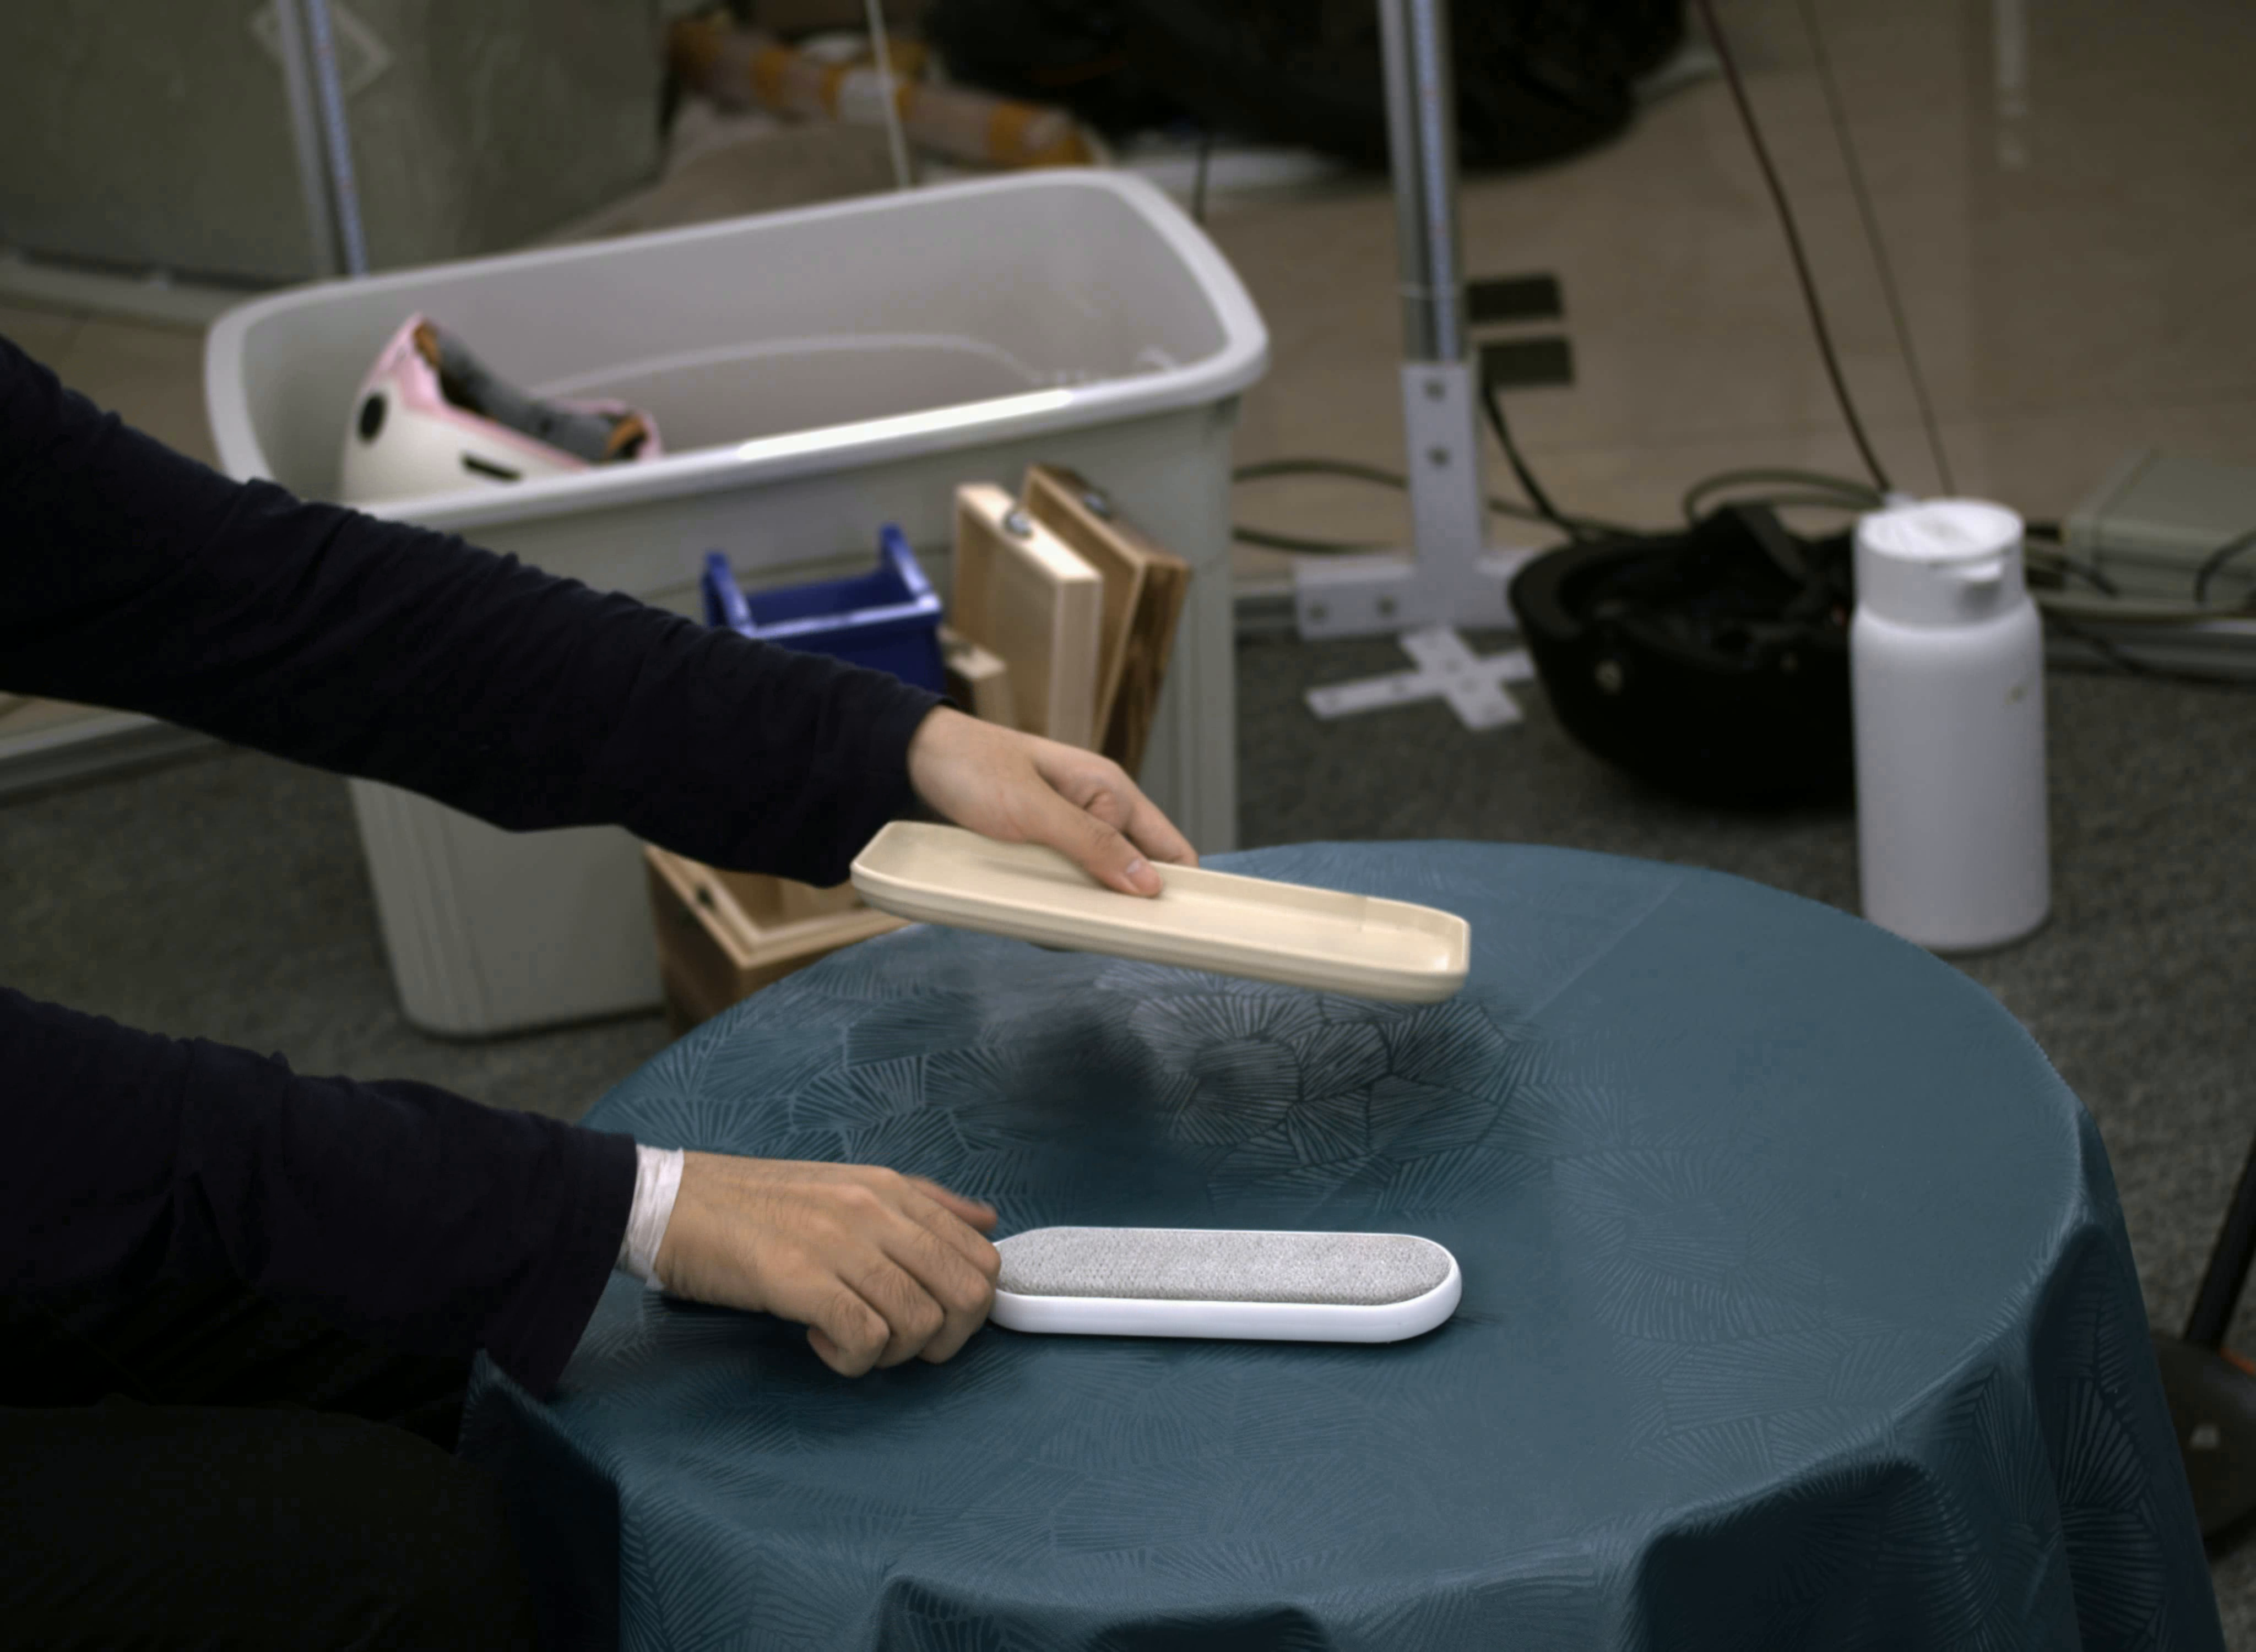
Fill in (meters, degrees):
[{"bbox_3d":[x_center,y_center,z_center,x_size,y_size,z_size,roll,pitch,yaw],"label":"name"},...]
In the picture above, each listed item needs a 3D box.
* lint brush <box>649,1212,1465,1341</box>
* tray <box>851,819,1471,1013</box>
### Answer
[{"bbox_3d":[-0.029,0.162,2.076,0.308,0.021,0.059,1,32,15],"label":"lint brush"},{"bbox_3d":[0.014,0.035,2.201,0.239,0.017,0.170,10,10,2],"label":"tray"}]
